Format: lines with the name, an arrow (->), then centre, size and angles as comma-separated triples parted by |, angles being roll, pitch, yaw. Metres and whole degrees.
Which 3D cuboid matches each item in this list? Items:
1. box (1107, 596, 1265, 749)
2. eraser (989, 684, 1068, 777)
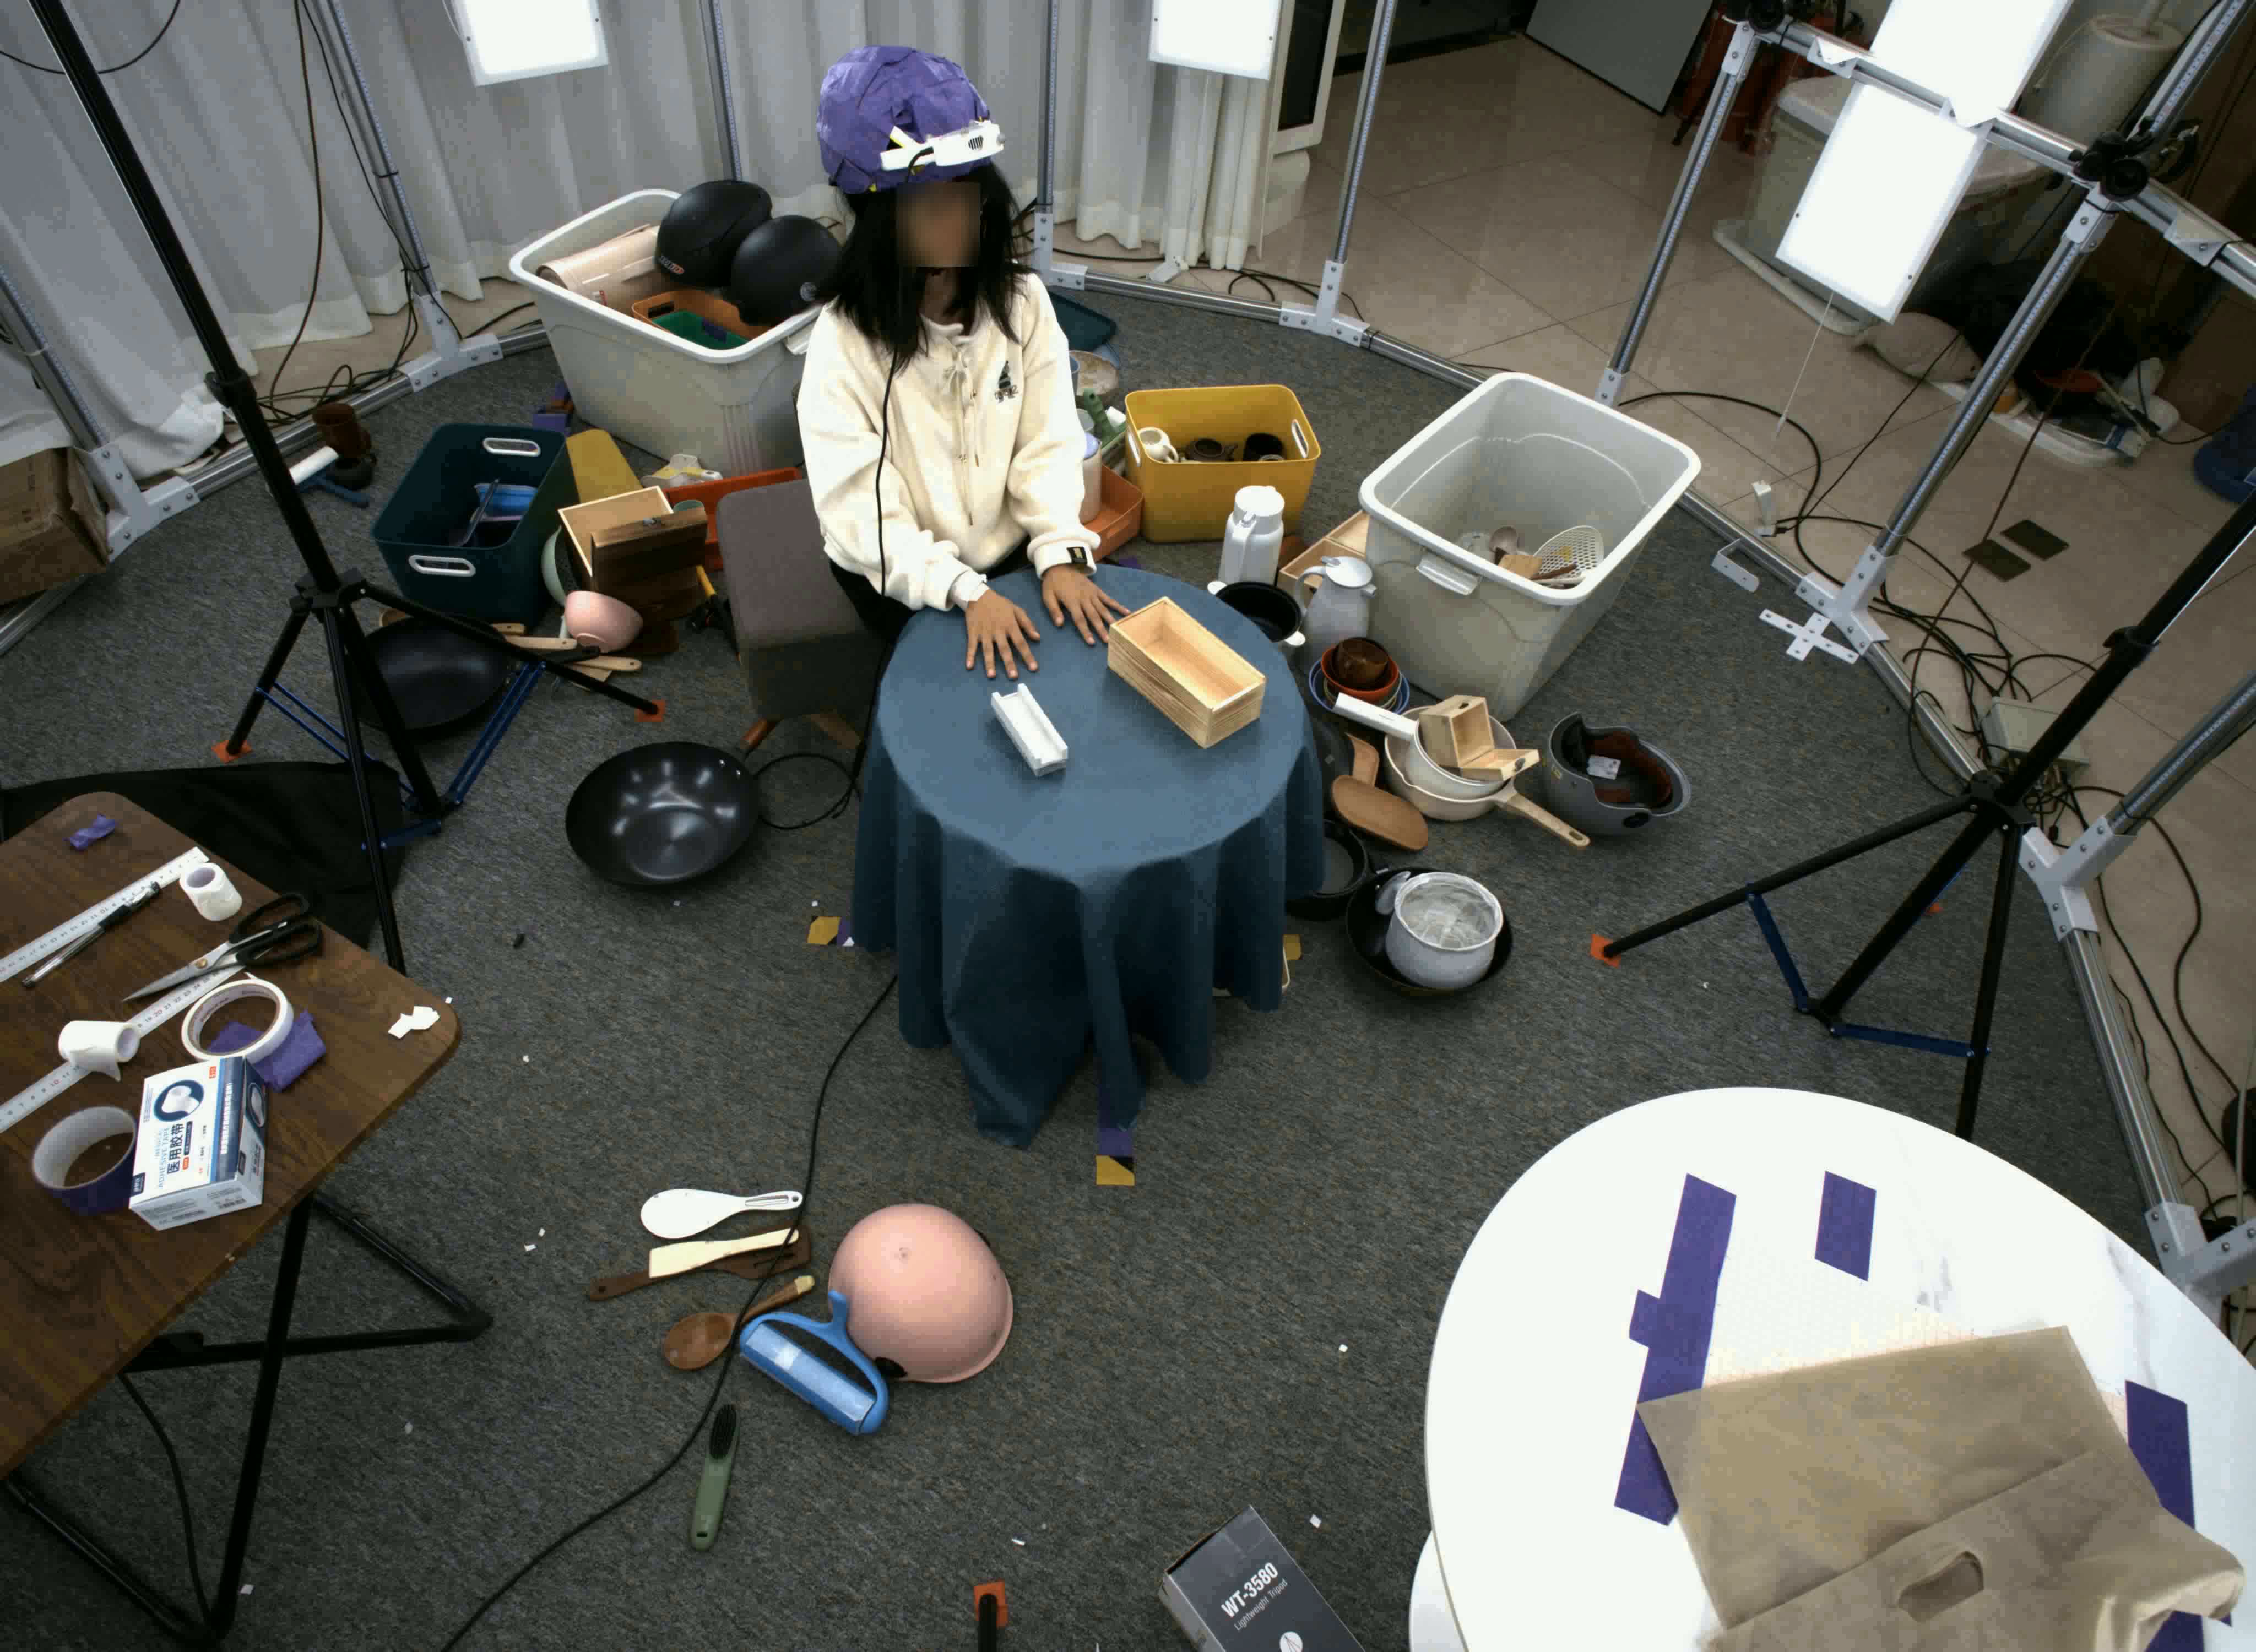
box -> 0.079, -0.220, 1.815 | 0.108, 0.078, 0.215 | -31, 58, -27
eraser -> -0.136, -0.130, 1.743 | 0.050, 0.045, 0.137 | -24, 56, -20
